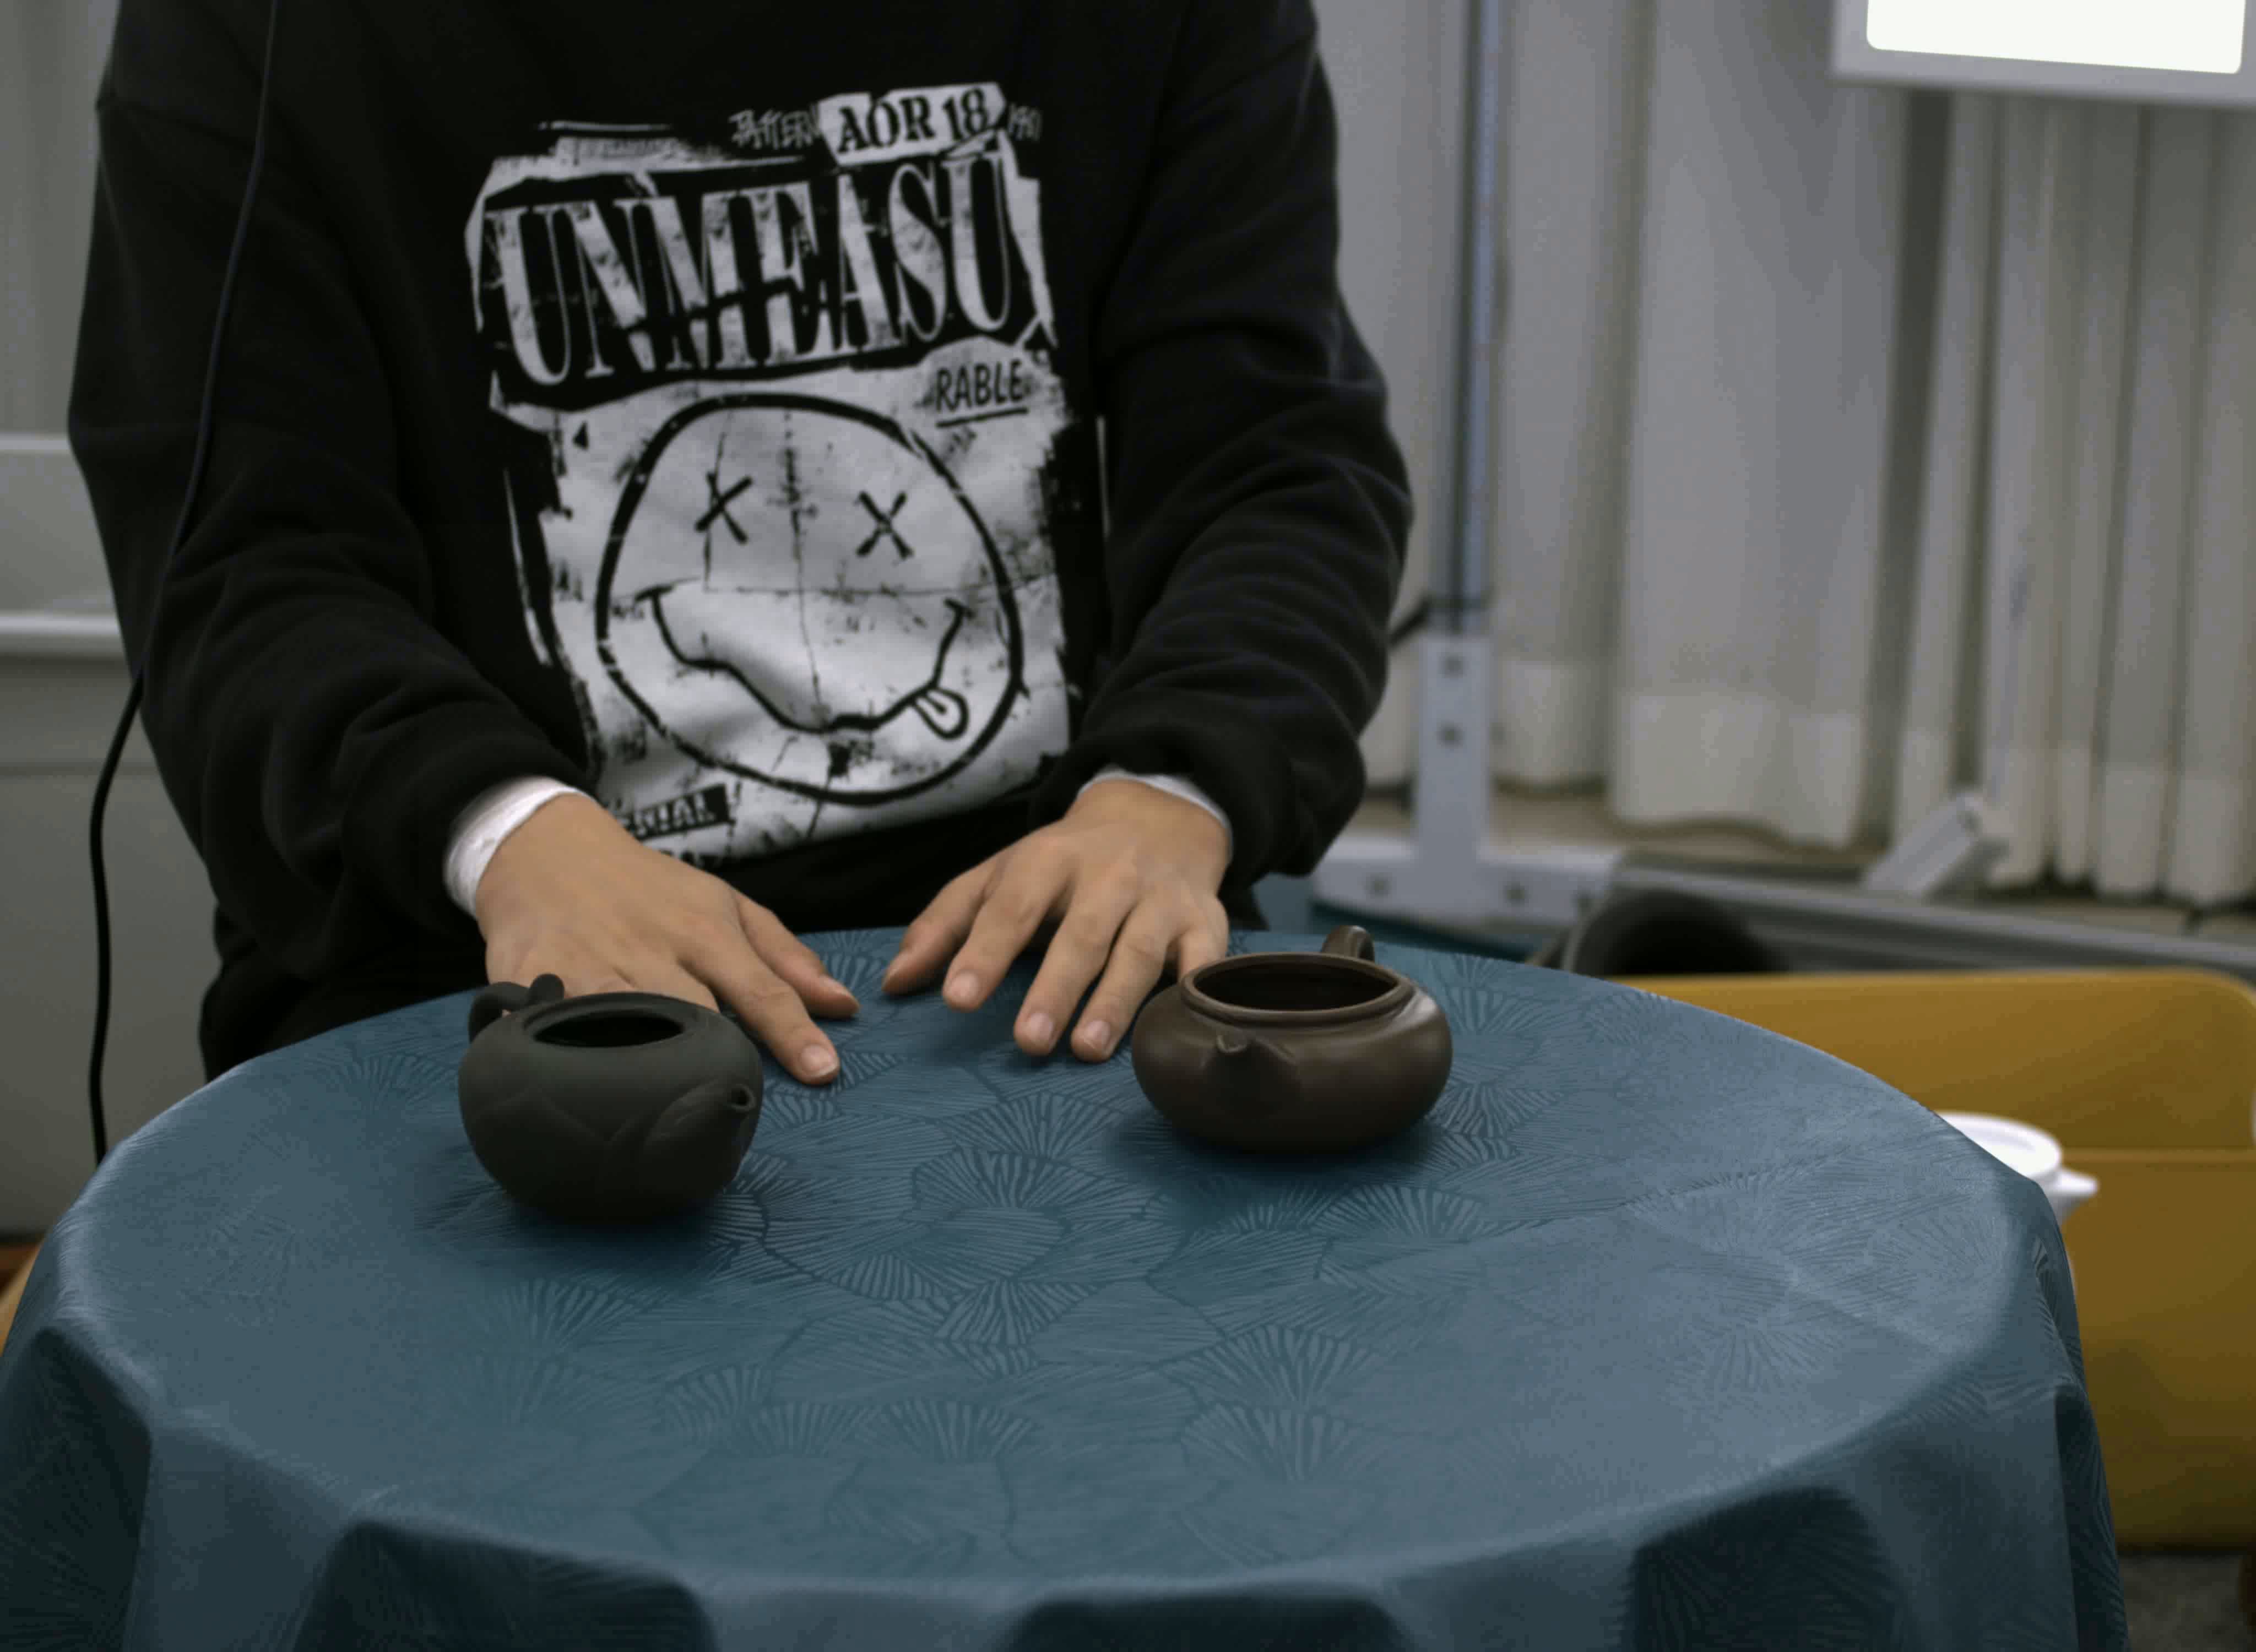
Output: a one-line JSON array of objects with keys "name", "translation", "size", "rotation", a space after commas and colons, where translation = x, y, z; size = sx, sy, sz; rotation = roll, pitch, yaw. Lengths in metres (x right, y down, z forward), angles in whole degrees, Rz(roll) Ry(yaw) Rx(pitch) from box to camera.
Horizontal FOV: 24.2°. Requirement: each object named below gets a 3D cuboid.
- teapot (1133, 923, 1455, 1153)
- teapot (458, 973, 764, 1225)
[{"name": "teapot", "translation": [0.053, 0.068, 1.680], "size": [0.102, 0.054, 0.153], "rotation": [5, 17, 11]}, {"name": "teapot", "translation": [-0.159, 0.083, 1.603], "size": [0.093, 0.065, 0.152], "rotation": [-9, 18, -36]}]
